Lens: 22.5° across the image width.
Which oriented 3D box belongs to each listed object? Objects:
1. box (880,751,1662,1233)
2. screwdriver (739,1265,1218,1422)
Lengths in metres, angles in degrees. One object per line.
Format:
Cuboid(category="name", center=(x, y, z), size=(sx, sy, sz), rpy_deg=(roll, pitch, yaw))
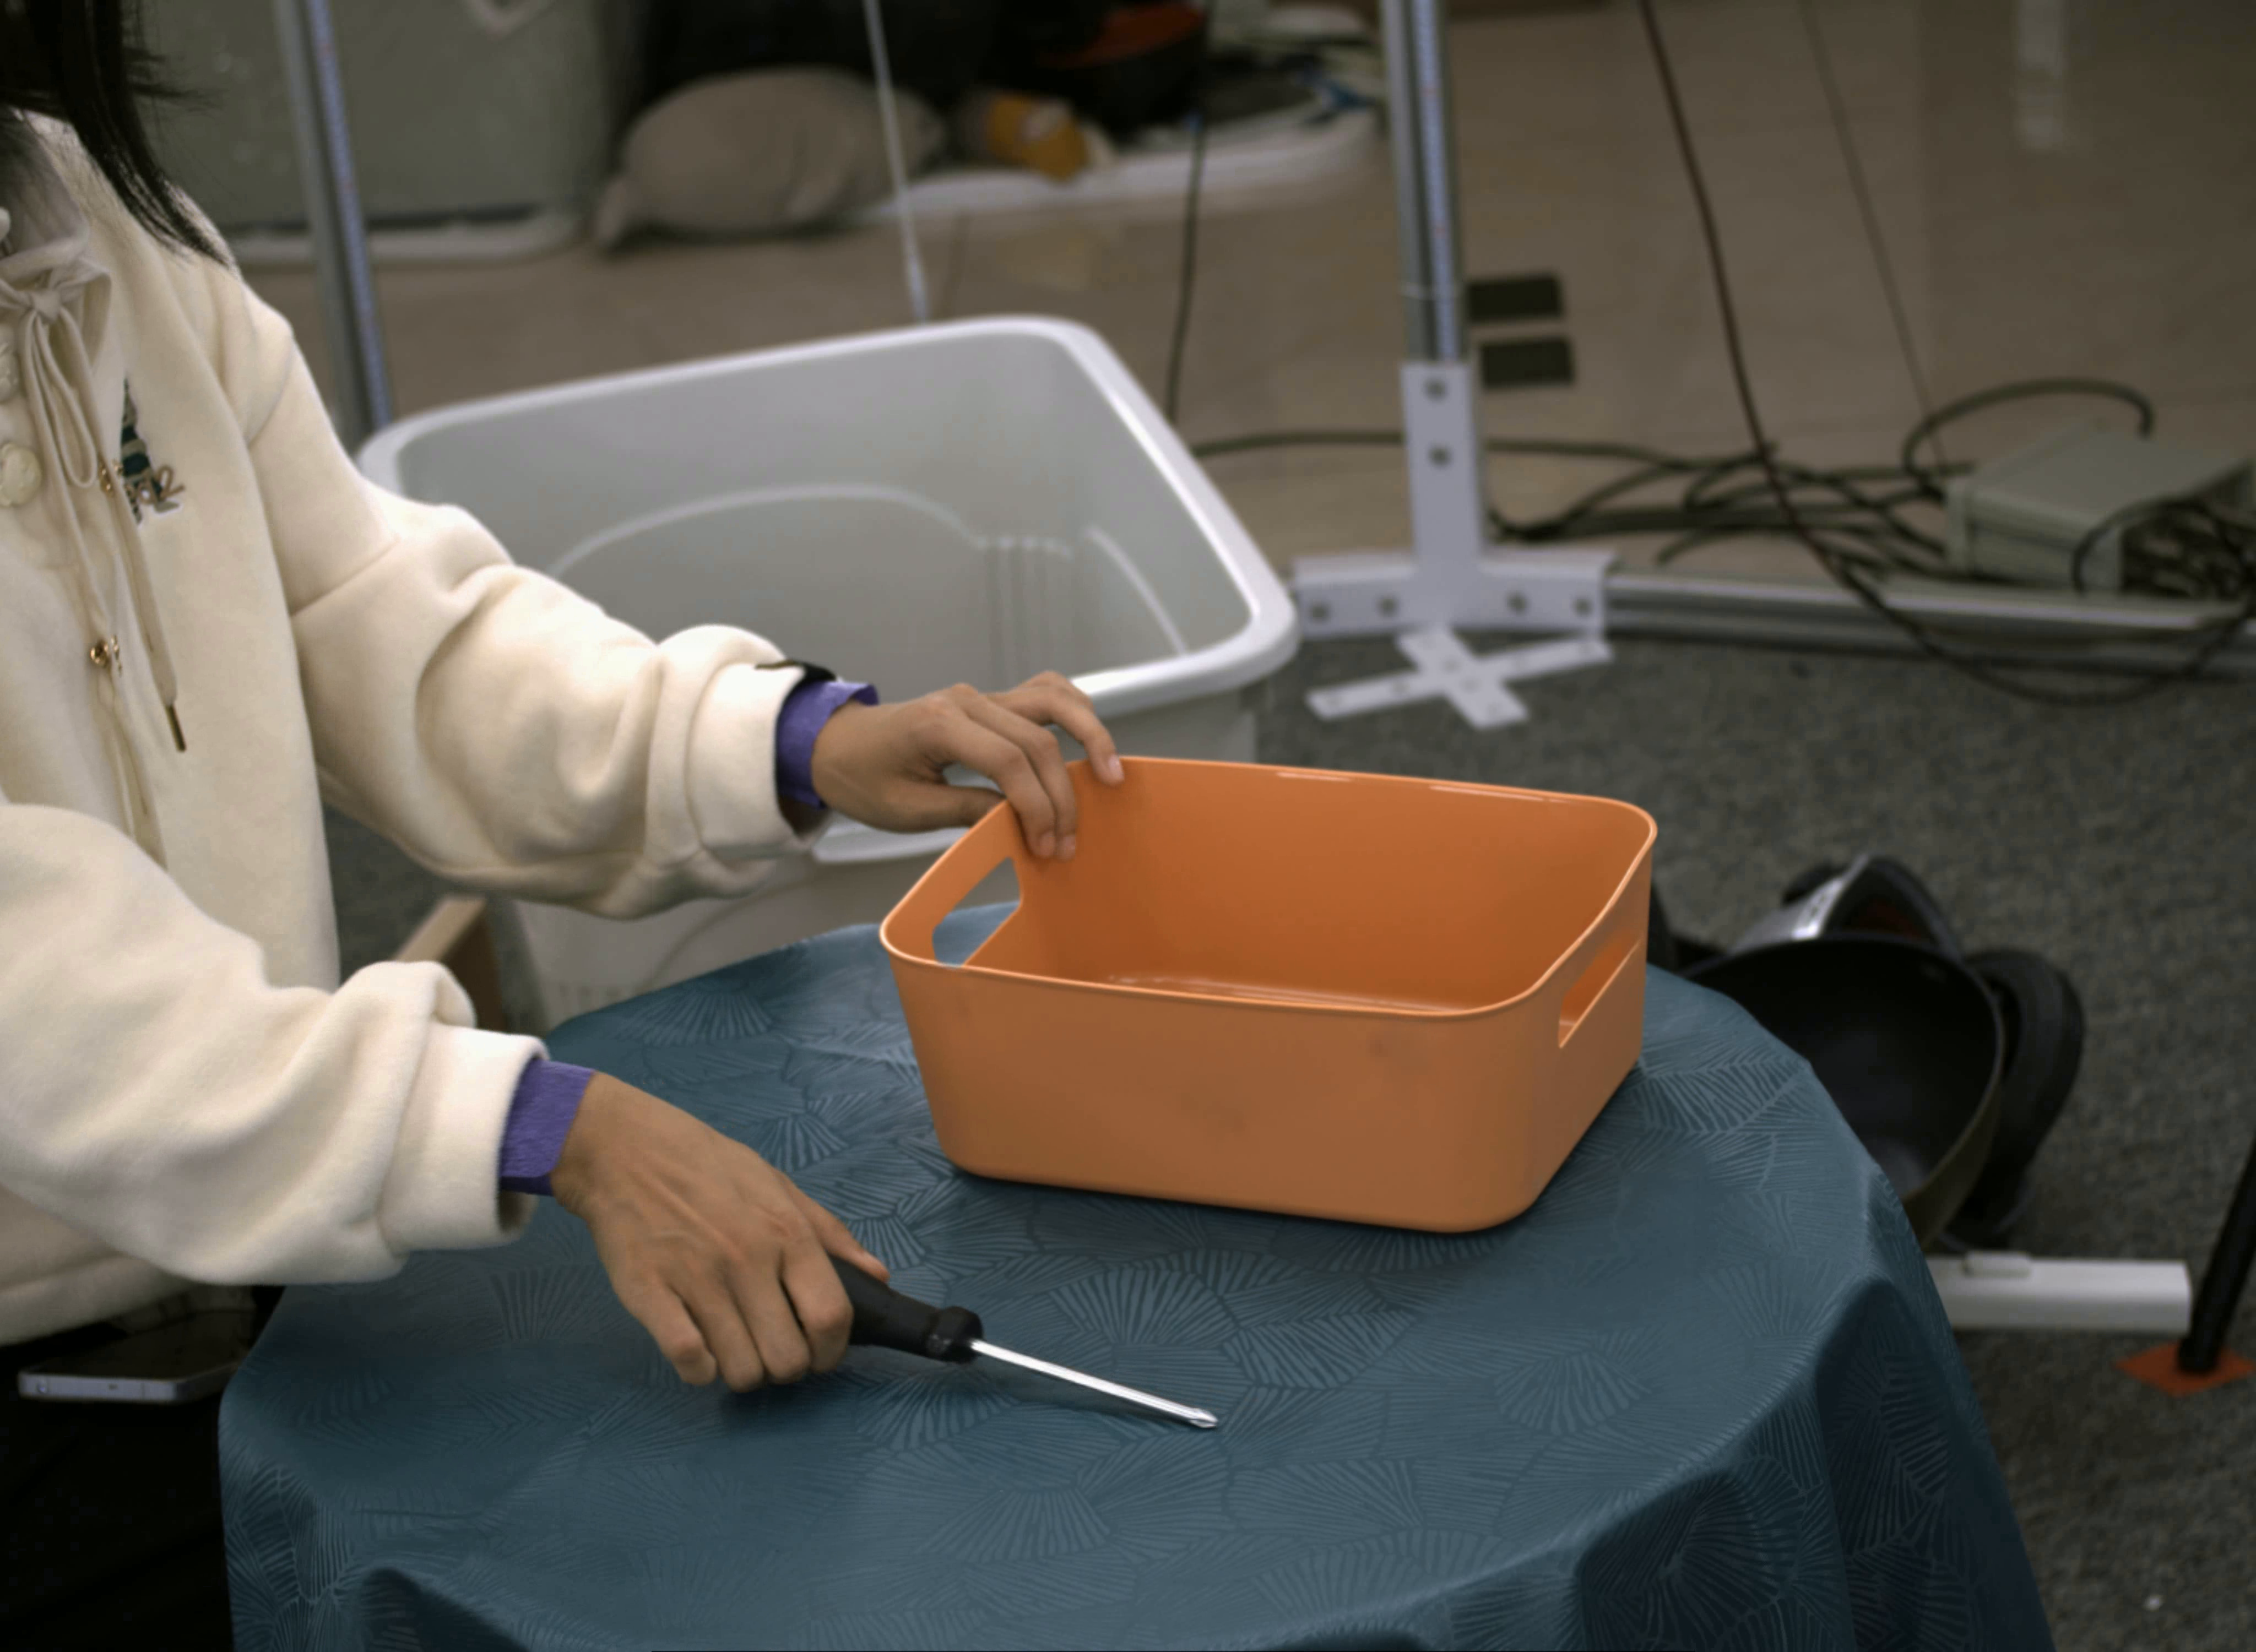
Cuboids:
Cuboid(category="box", center=(0.060, 0.063, 2.171), size=(0.272, 0.104, 0.197), rpy_deg=(6, 28, 24))
Cuboid(category="screwdriver", center=(-0.055, 0.192, 2.026), size=(0.195, 0.032, 0.031), rpy_deg=(16, 32, 27))
